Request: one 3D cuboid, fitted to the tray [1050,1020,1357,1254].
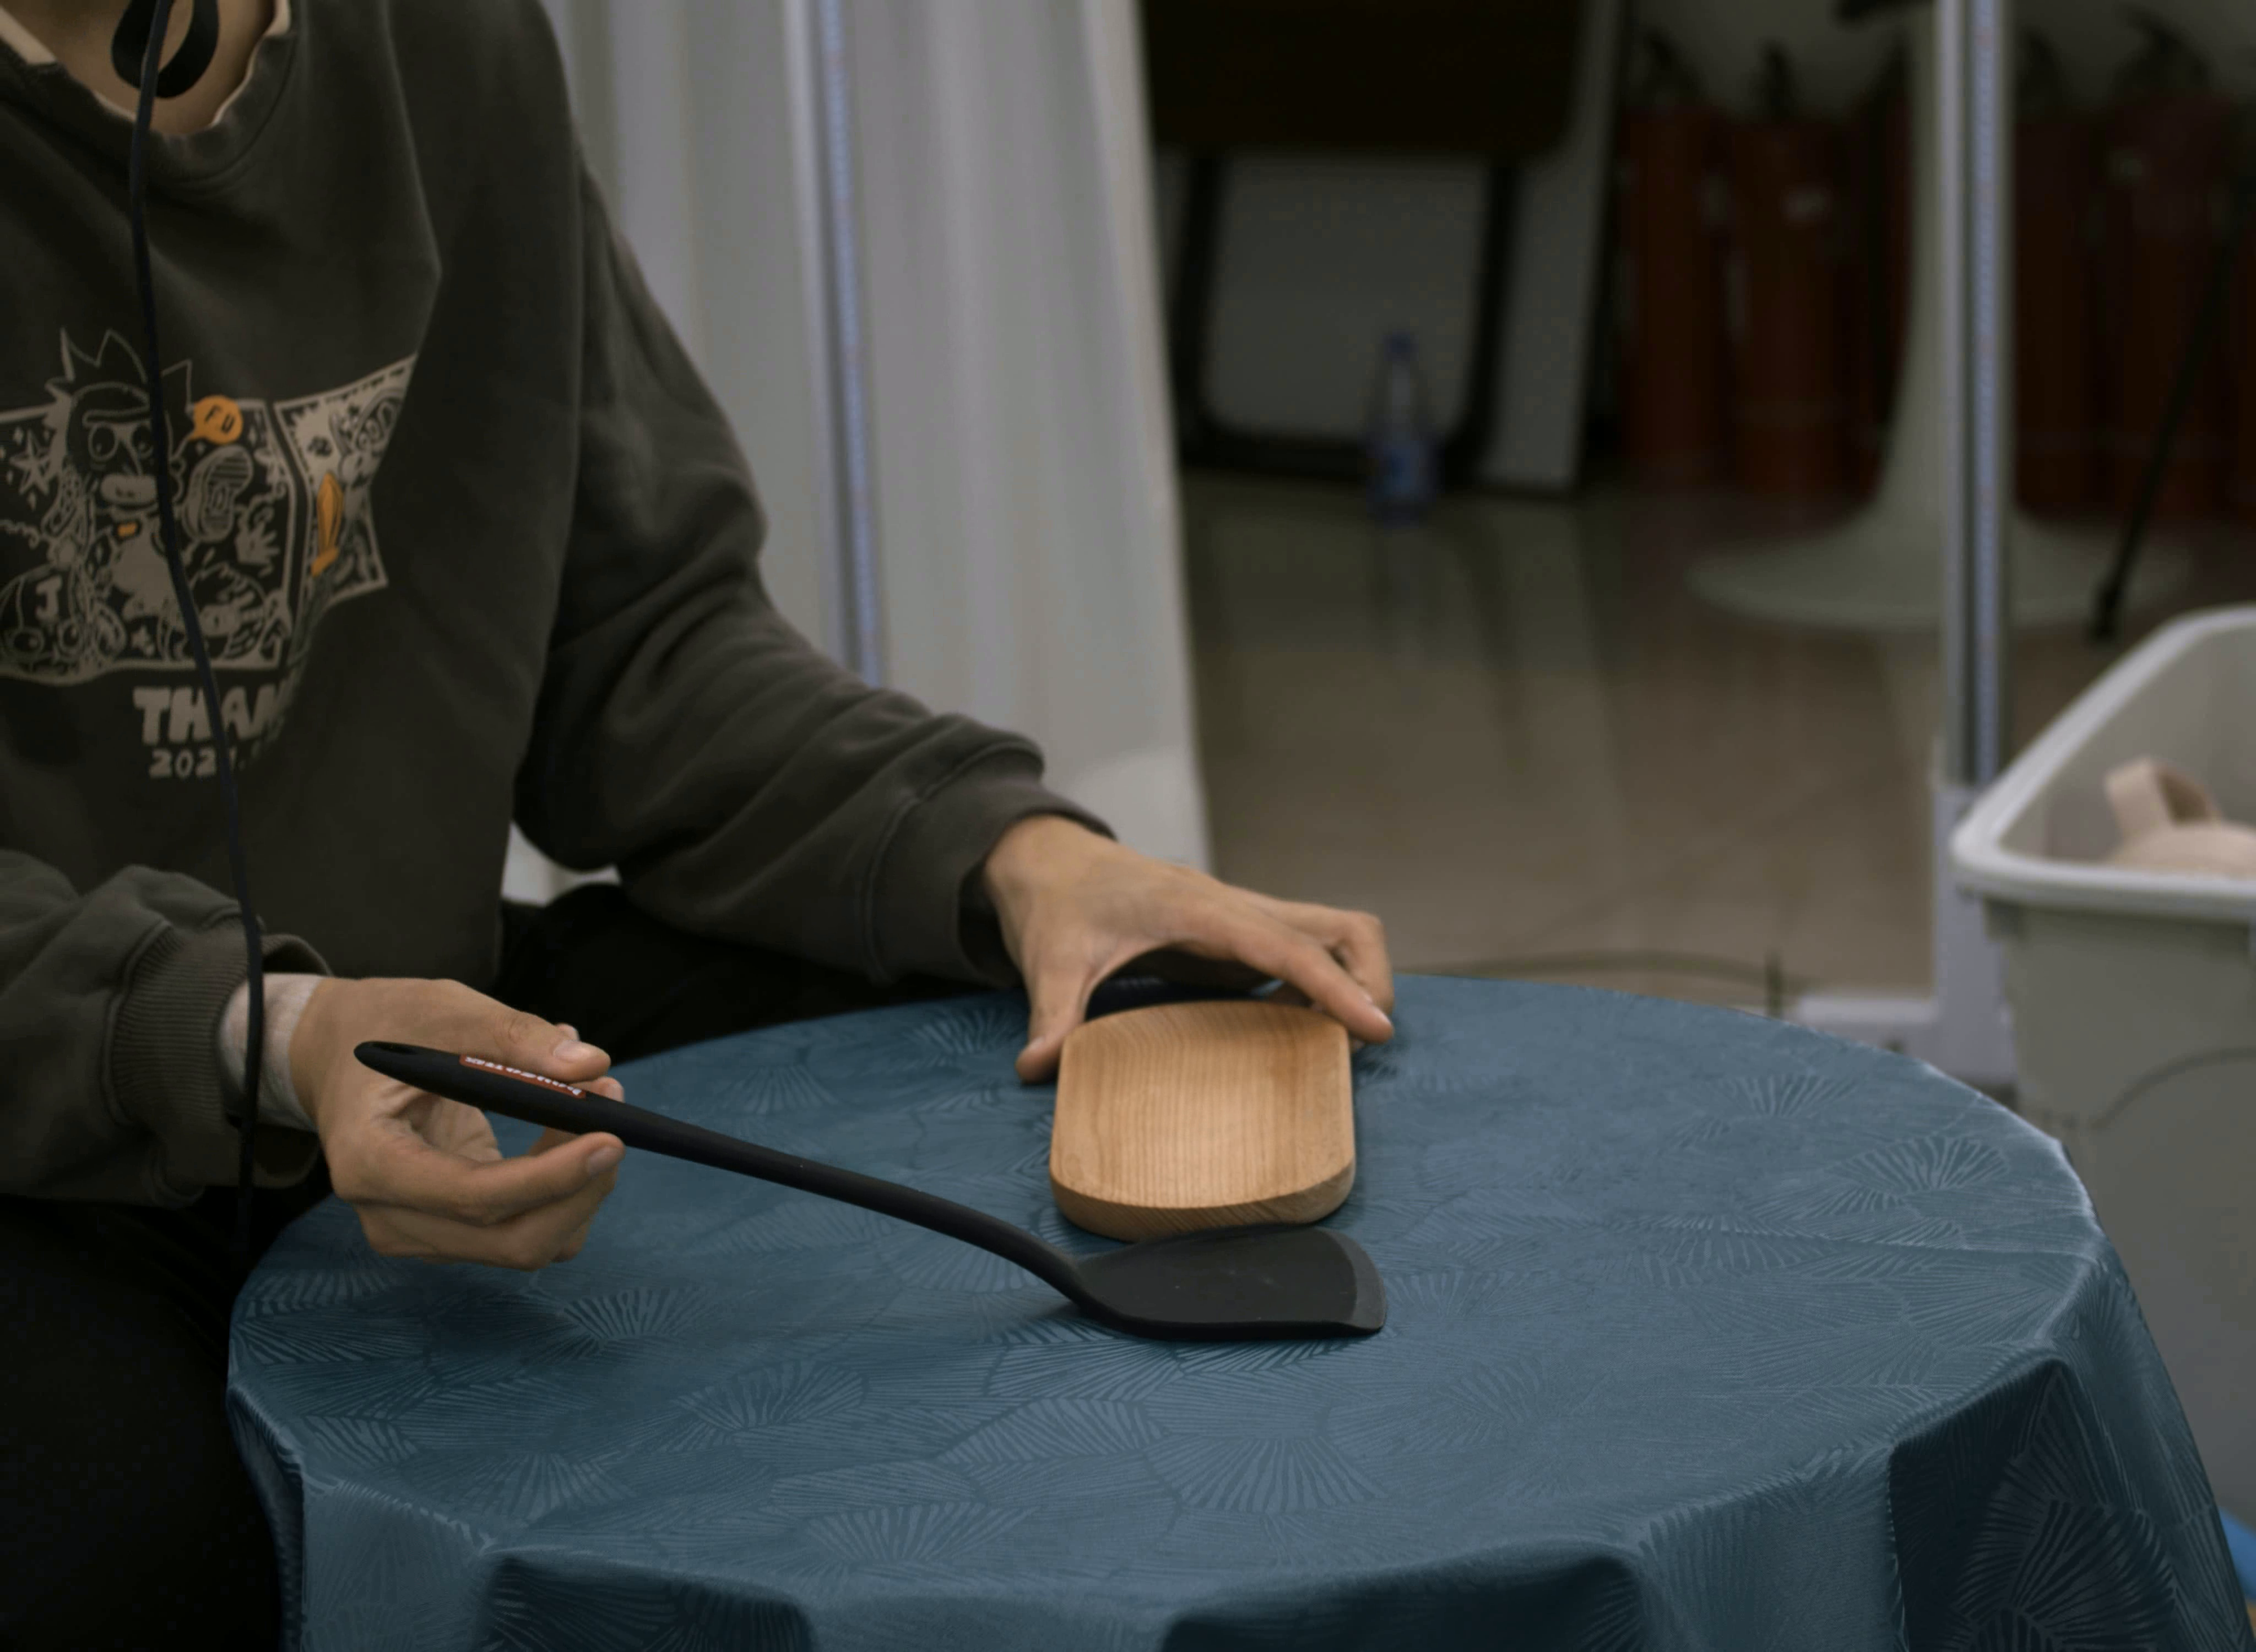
[{"bbox_3d":[0.026,0.103,1.814,0.100,0.020,0.231,-4,14,3],"label":"tray"}]

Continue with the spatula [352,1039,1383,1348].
[{"bbox_3d":[-0.079,0.107,1.651,0.322,0.041,0.100,20,10,-5],"label":"spatula"}]
